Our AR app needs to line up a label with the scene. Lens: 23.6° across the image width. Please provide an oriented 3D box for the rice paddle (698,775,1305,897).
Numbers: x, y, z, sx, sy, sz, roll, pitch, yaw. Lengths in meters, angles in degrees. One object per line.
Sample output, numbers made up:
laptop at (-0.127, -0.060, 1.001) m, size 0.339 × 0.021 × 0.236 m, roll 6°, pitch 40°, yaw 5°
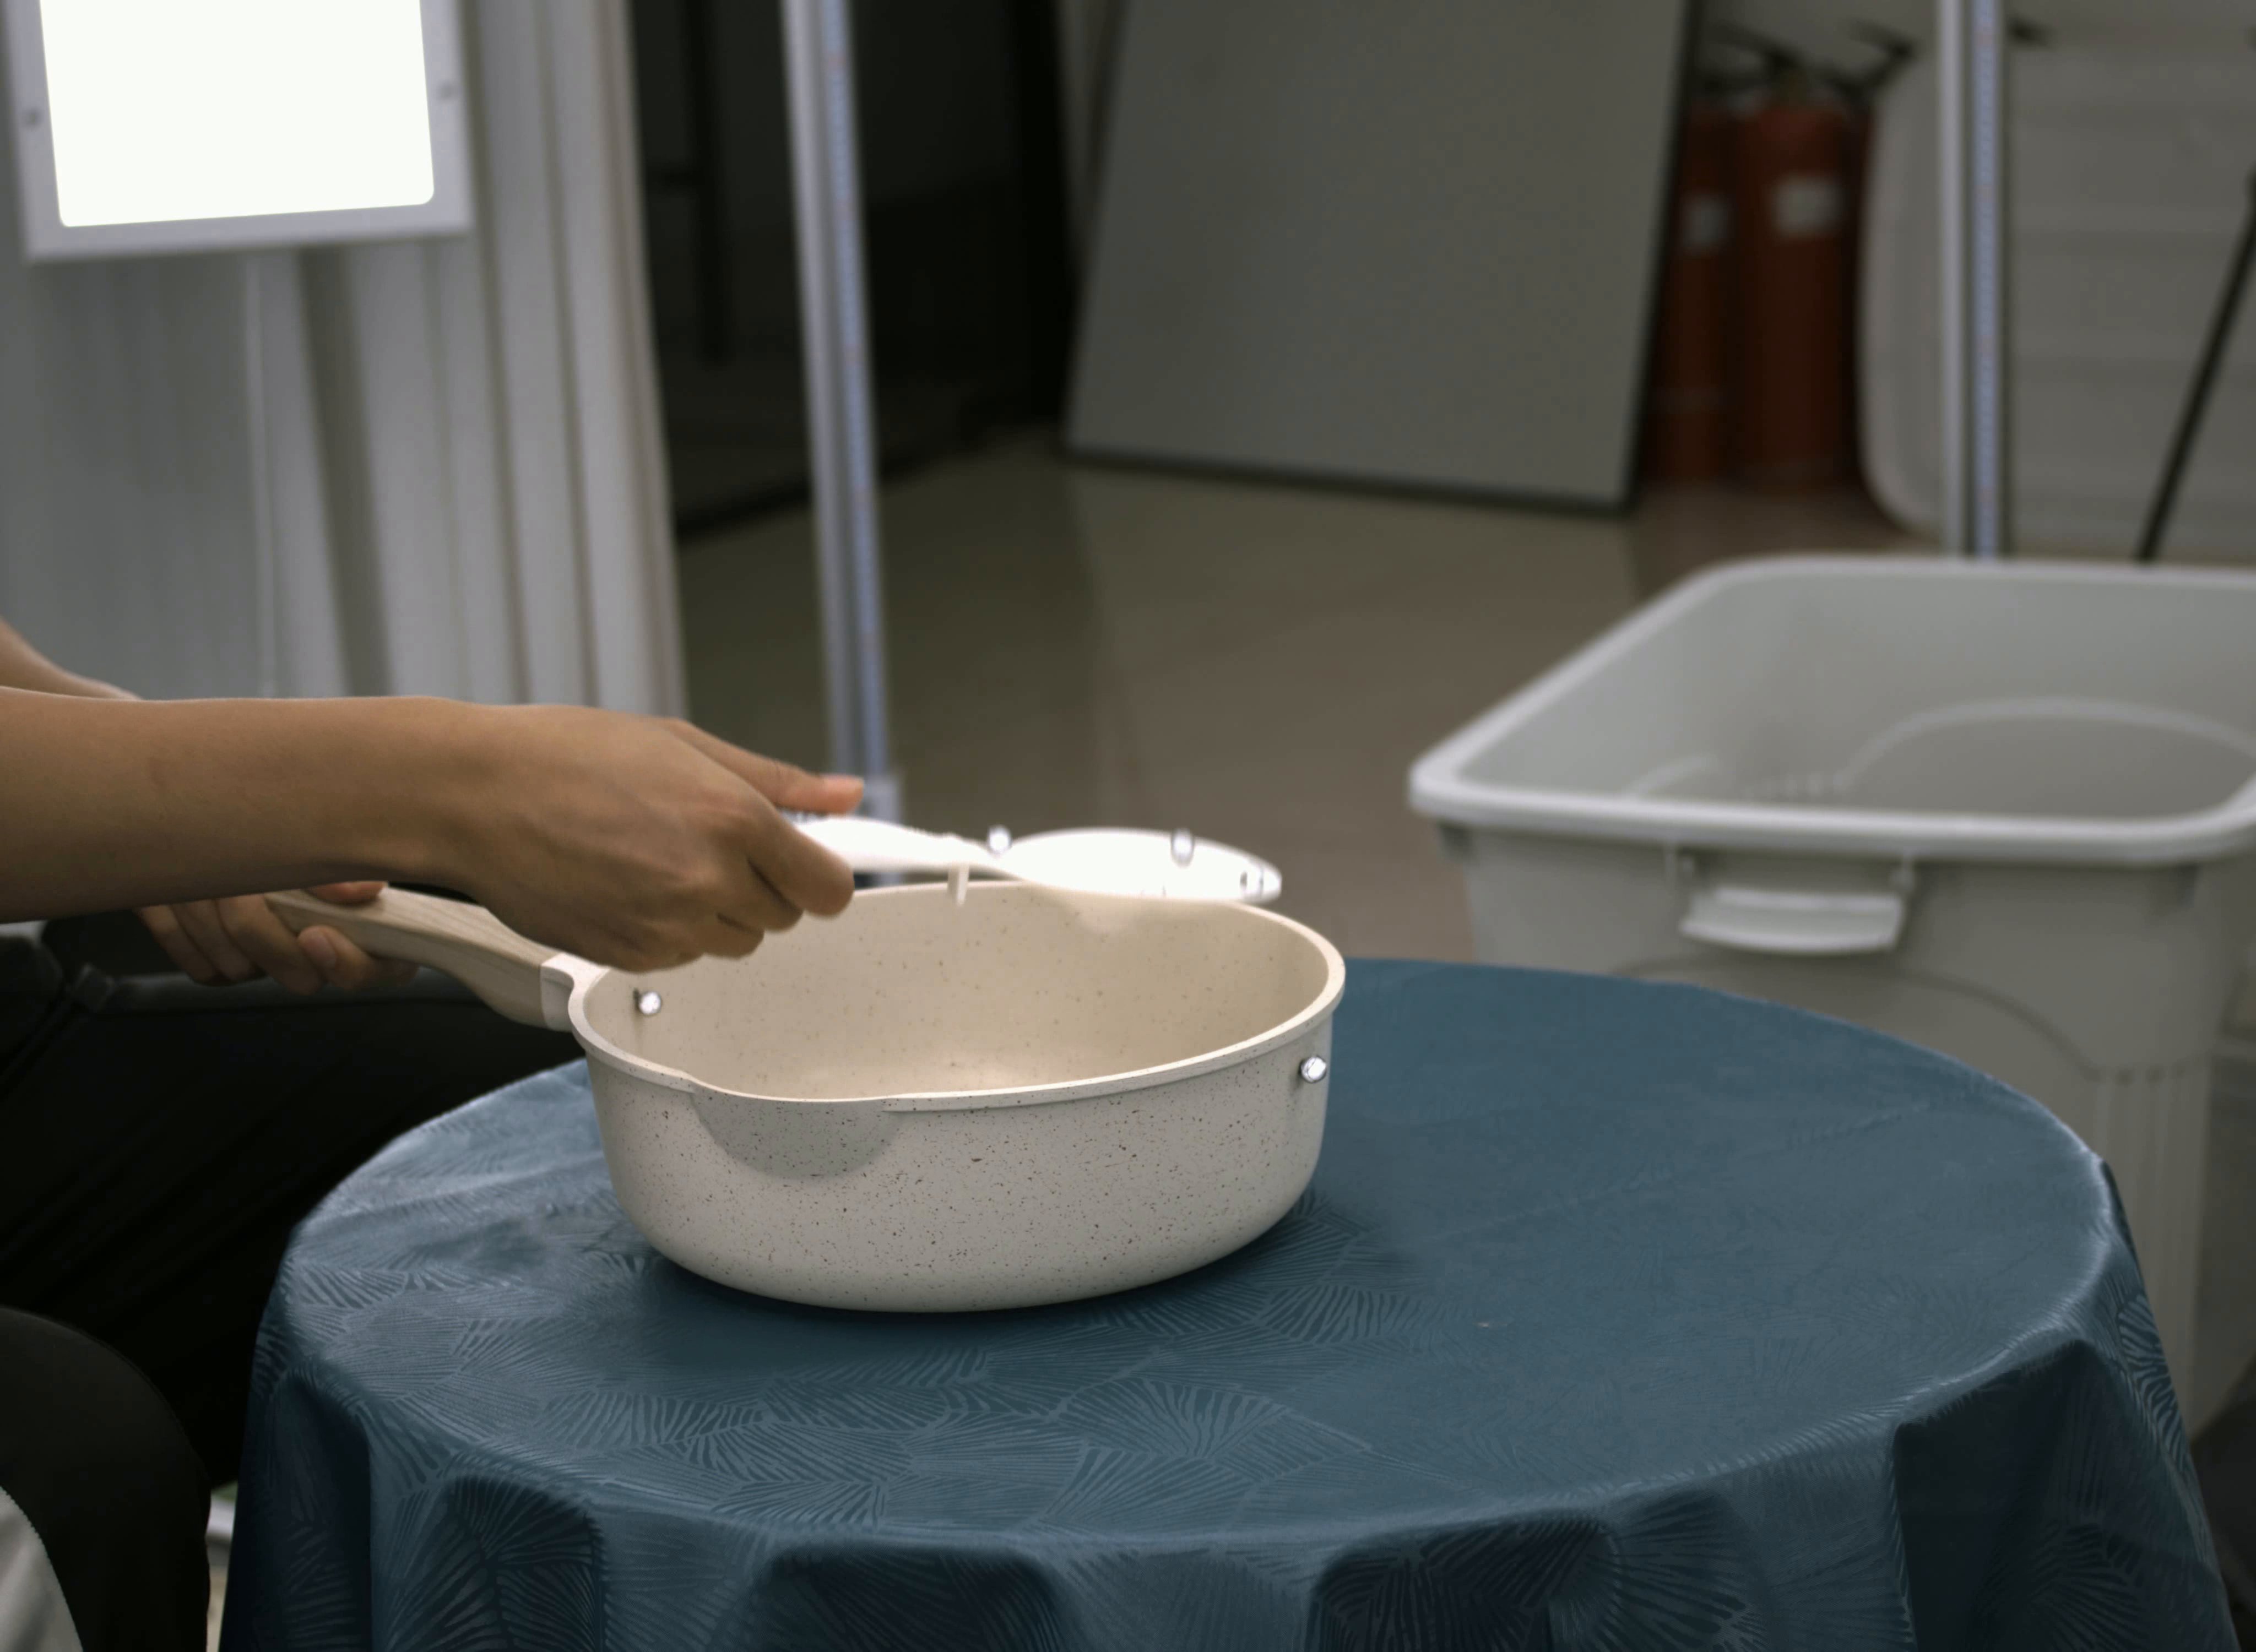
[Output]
rice paddle at (-0.037, 0.004, 1.741) m, size 0.201 × 0.030 × 0.069 m, roll 3°, pitch 17°, yaw -19°

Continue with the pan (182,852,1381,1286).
pan at (-0.122, 0.068, 1.798) m, size 0.435 × 0.103 × 0.260 m, roll 2°, pitch 17°, yaw 25°
